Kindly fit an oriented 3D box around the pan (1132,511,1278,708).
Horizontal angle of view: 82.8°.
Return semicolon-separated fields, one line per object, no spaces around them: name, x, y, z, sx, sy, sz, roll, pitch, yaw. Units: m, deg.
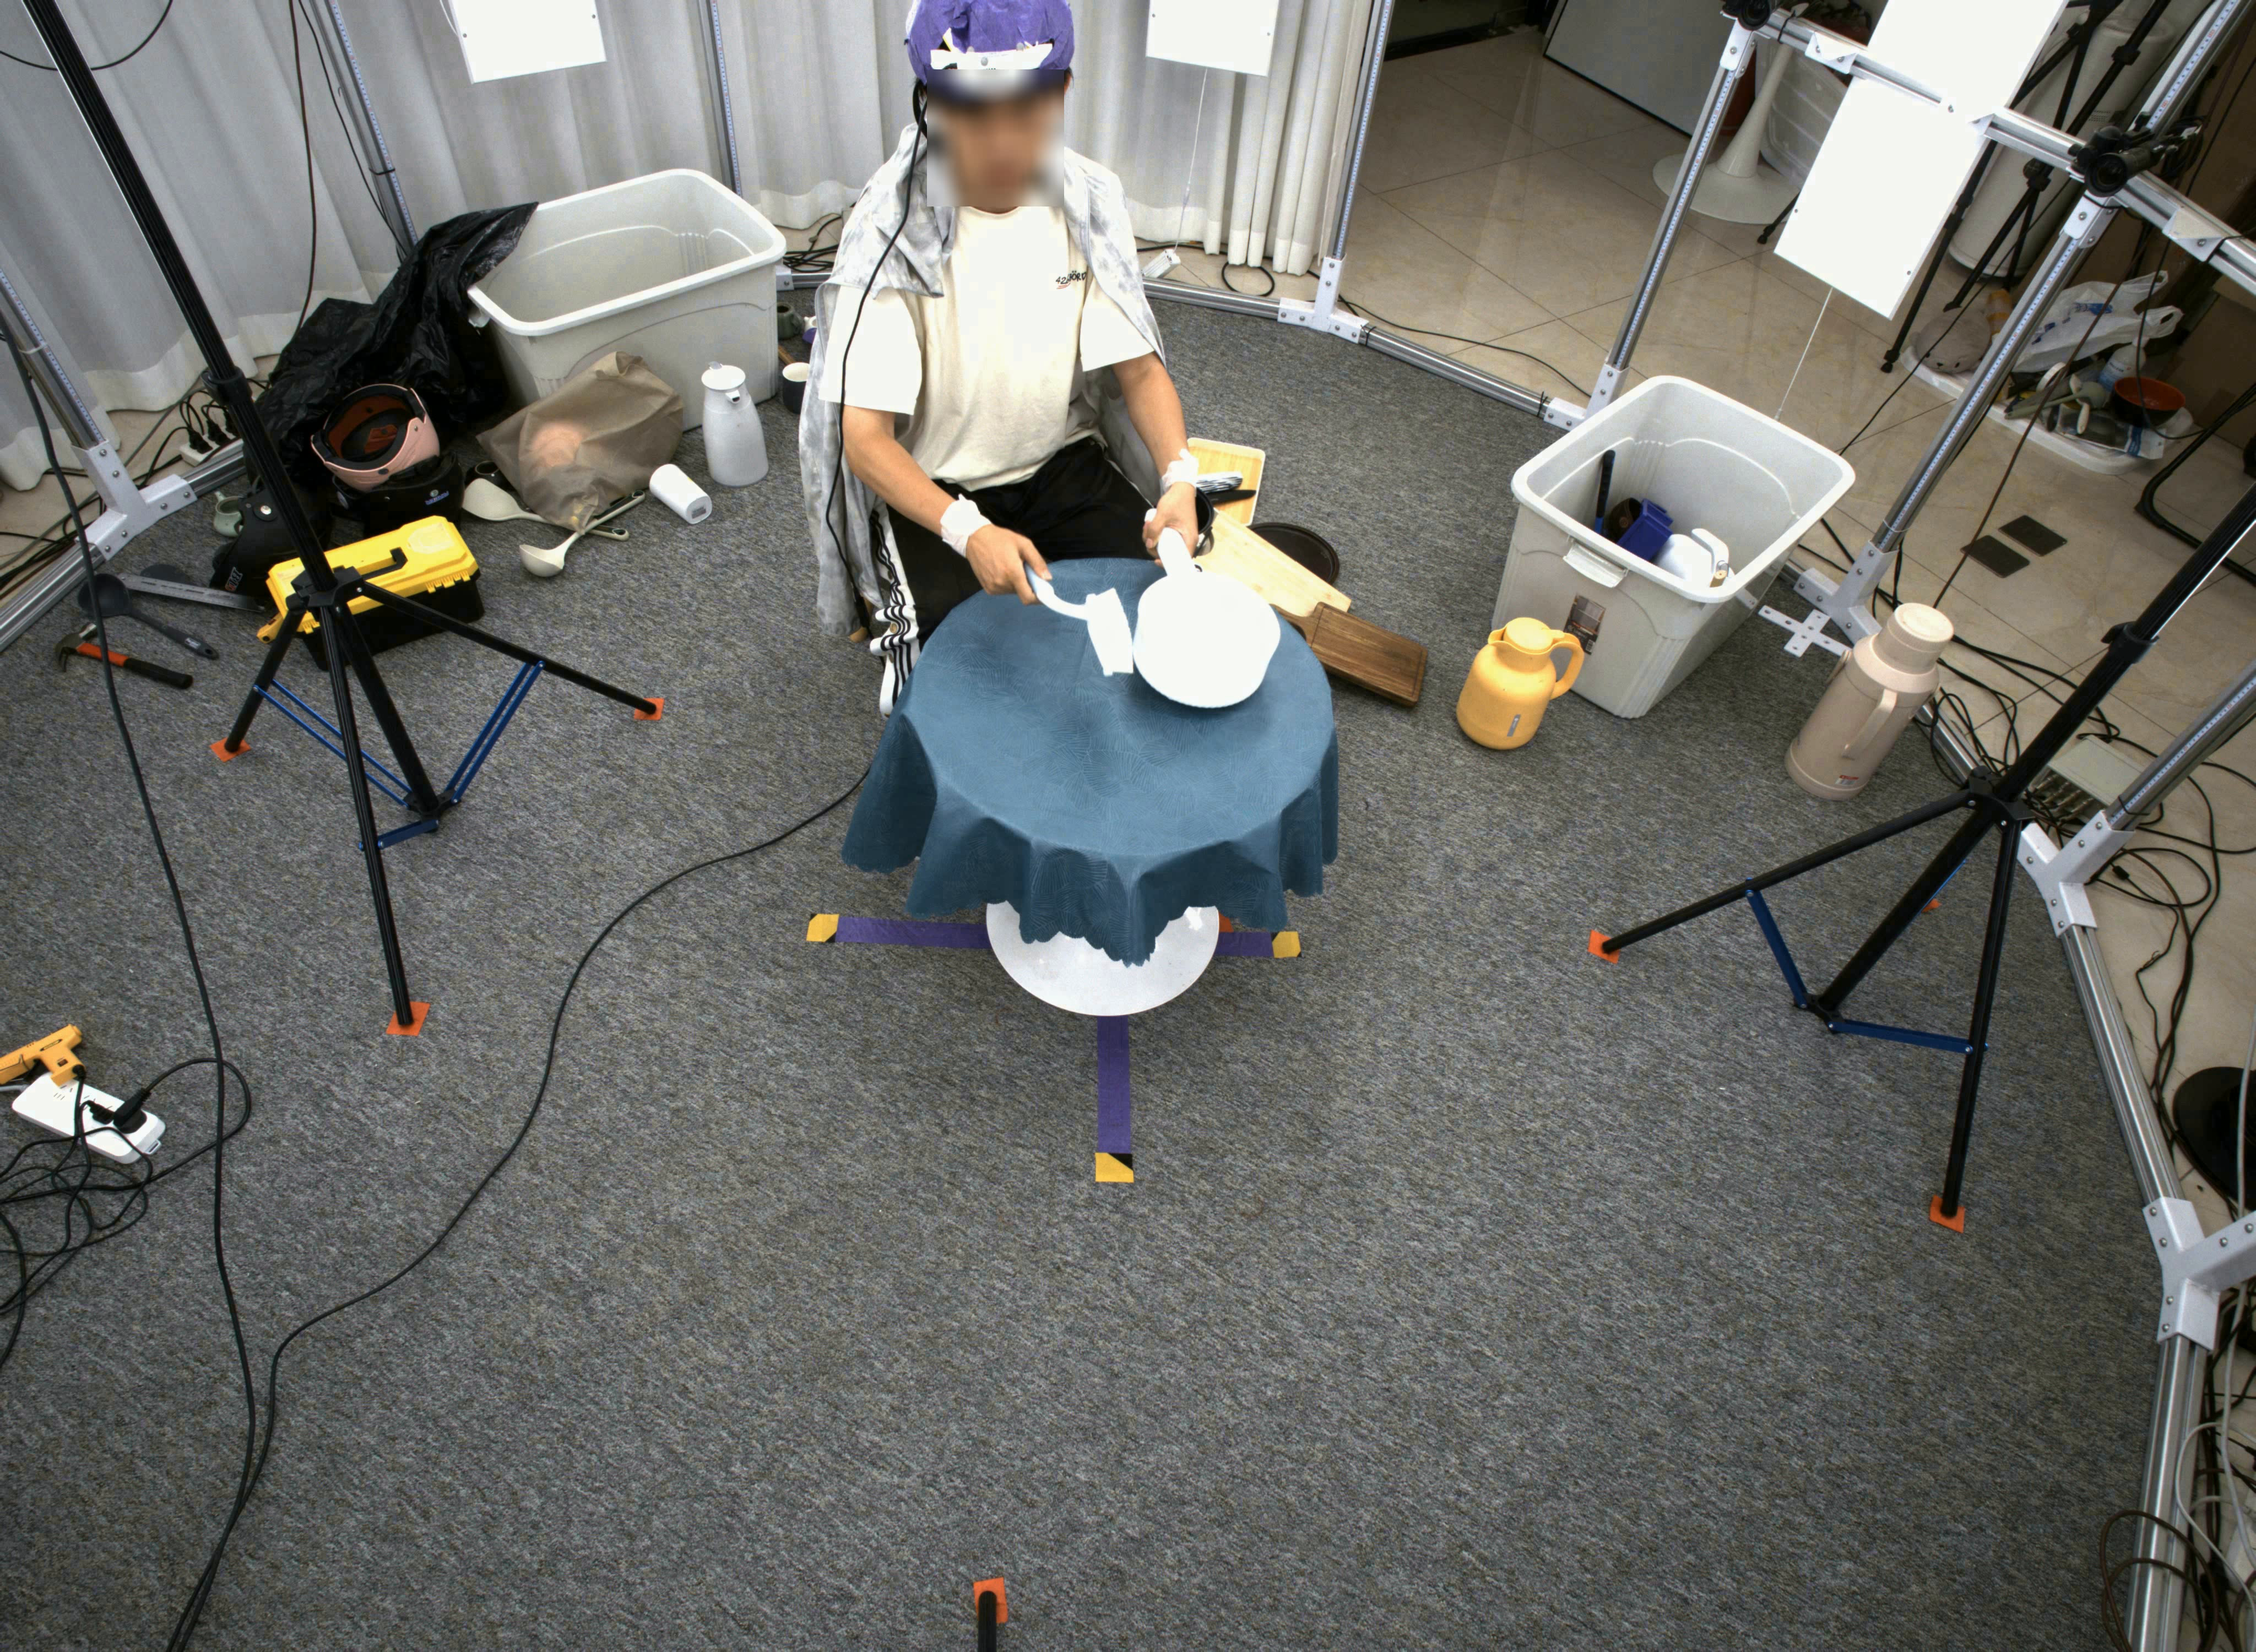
pan;0.085;-0.315;1.870;0.201;0.100;0.363;-6;49;-16

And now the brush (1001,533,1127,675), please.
brush;-0.072;-0.323;1.774;0.084;0.082;0.333;11;34;-43
